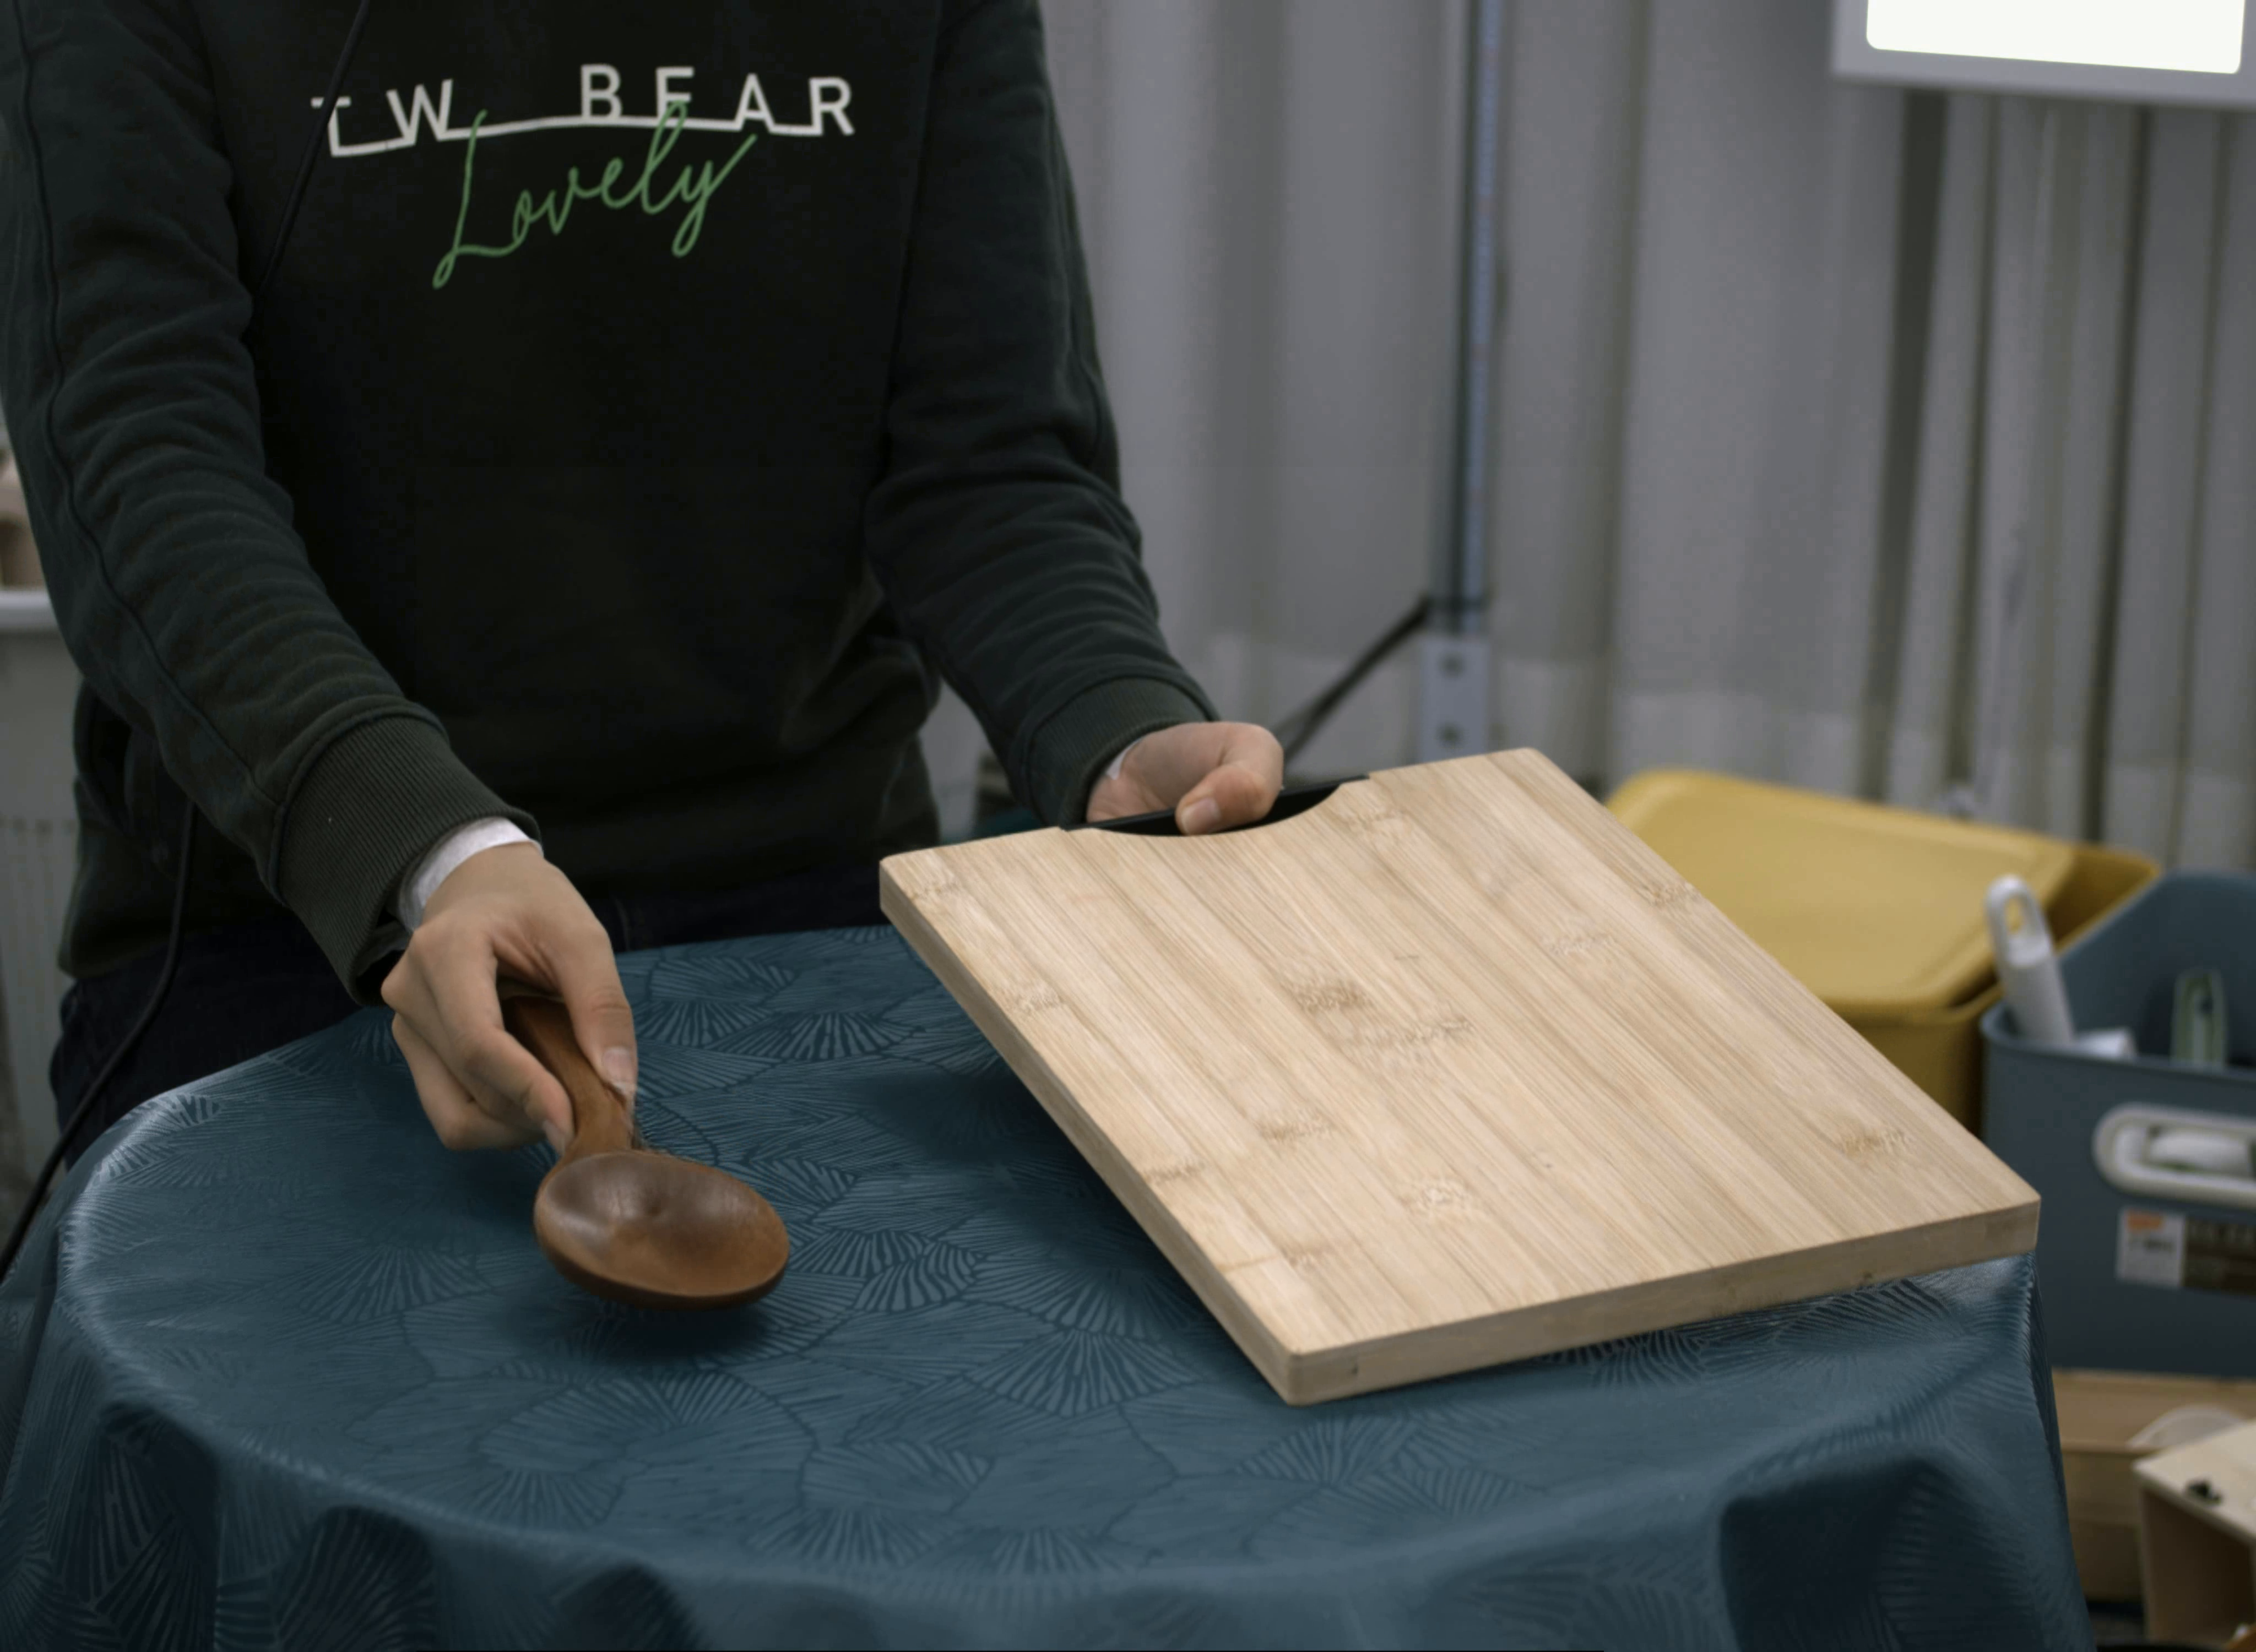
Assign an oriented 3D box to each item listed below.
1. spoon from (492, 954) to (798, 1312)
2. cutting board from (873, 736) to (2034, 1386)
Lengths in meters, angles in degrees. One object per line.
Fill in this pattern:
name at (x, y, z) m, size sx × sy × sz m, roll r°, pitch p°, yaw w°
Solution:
spoon at (-0.155, 0.092, 1.568) m, size 0.076 × 0.017 × 0.213 m, roll -2°, pitch 26°, yaw -21°
cutting board at (0.090, 0.064, 1.638) m, size 0.251 × 0.024 × 0.344 m, roll -9°, pitch 28°, yaw -22°
